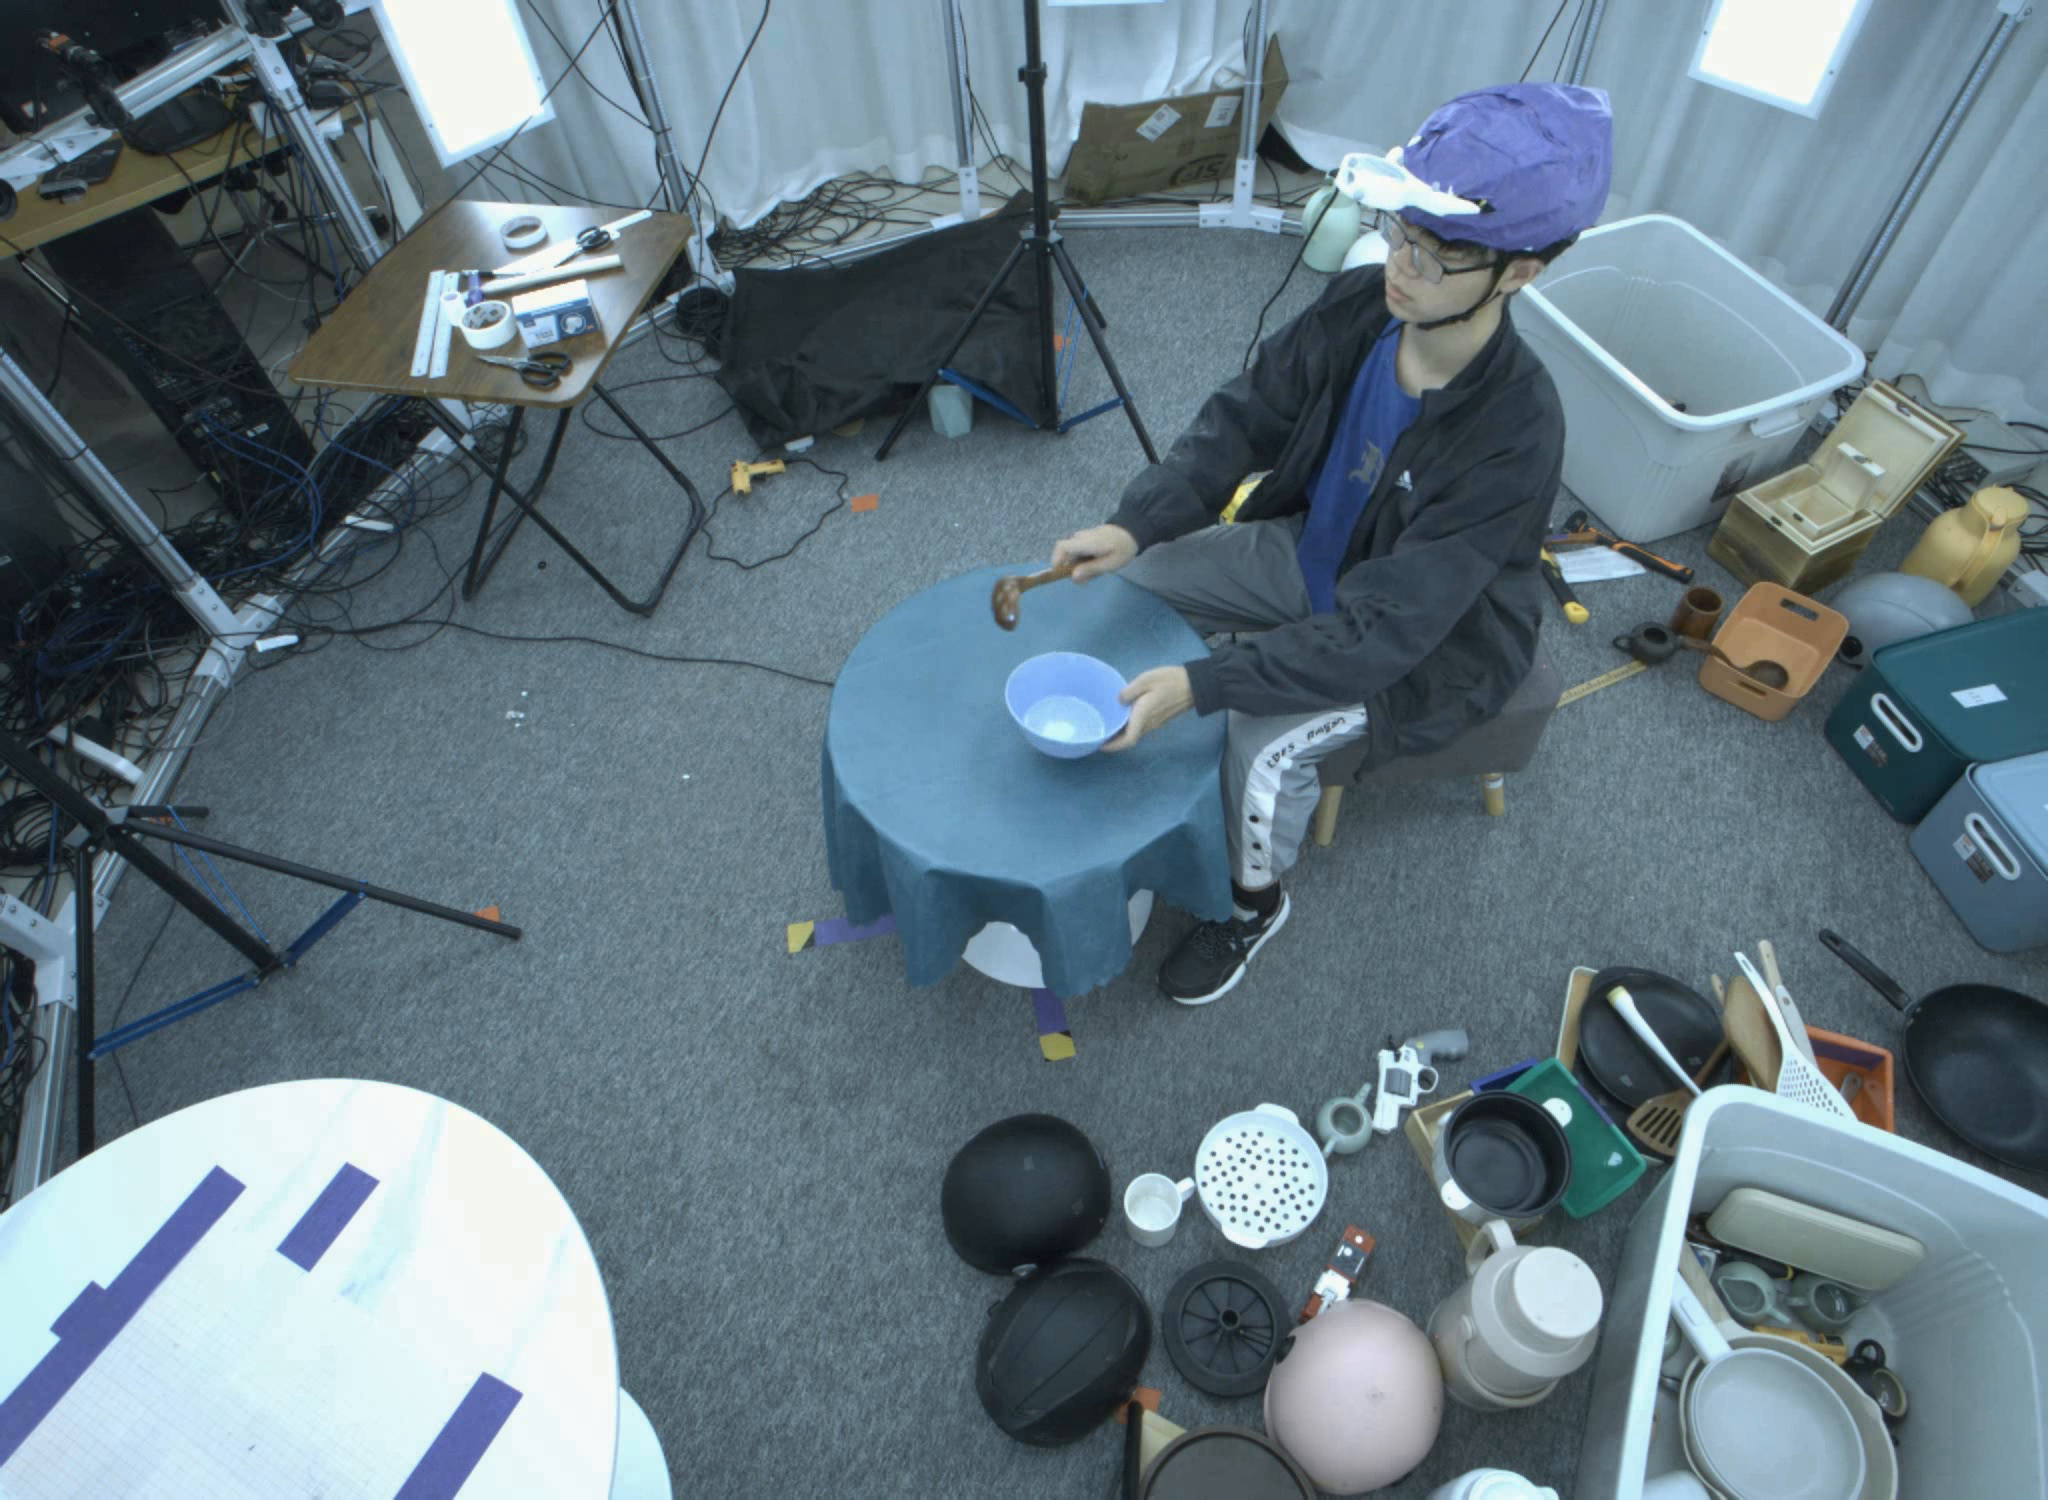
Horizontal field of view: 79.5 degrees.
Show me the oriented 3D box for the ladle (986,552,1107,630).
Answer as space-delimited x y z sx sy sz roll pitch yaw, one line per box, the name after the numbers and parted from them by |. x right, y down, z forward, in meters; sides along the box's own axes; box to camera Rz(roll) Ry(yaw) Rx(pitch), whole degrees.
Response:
0.046 -0.236 1.747 0.278 0.082 0.075 -21 51 -41 | ladle

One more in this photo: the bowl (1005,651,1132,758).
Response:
0.059 -0.054 1.713 0.177 0.071 0.174 5 49 -5 | bowl
